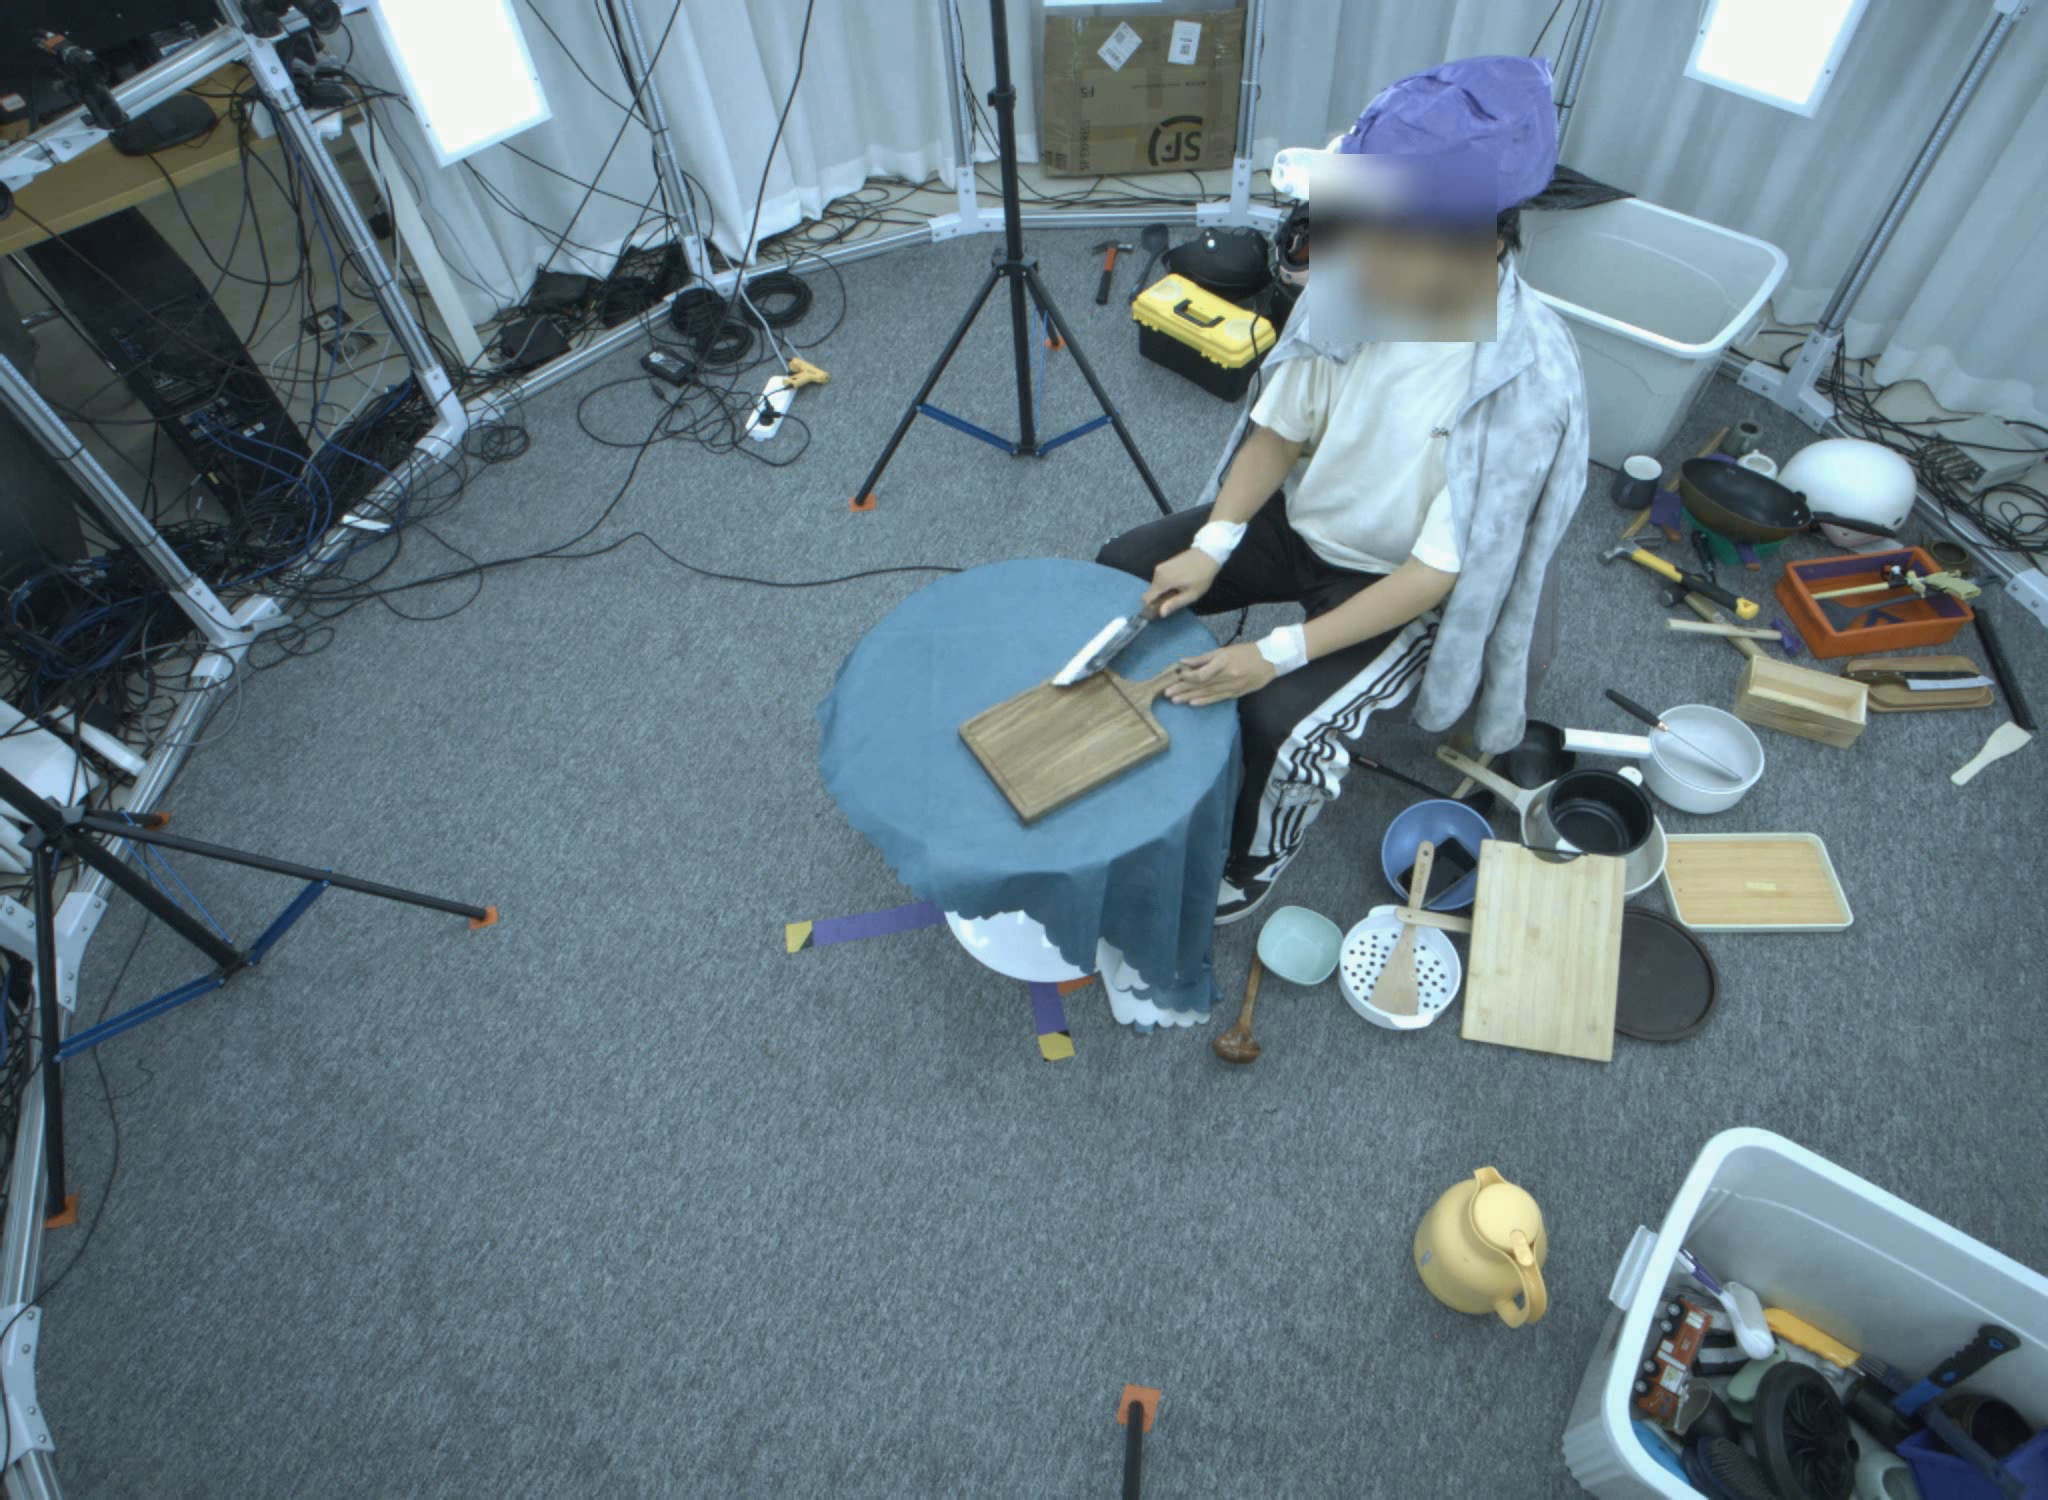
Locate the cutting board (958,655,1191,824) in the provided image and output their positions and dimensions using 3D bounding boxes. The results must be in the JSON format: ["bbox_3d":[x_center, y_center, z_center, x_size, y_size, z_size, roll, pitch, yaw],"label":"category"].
[{"bbox_3d":[0.100,-0.043,1.804,0.355,0.023,0.197,-28,58,-17],"label":"cutting board"}]

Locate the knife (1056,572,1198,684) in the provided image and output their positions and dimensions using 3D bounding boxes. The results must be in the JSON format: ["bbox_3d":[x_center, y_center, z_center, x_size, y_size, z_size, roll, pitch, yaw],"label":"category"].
[{"bbox_3d":[0.158,-0.187,1.883,0.066,0.024,0.301,18,52,43],"label":"knife"}]
